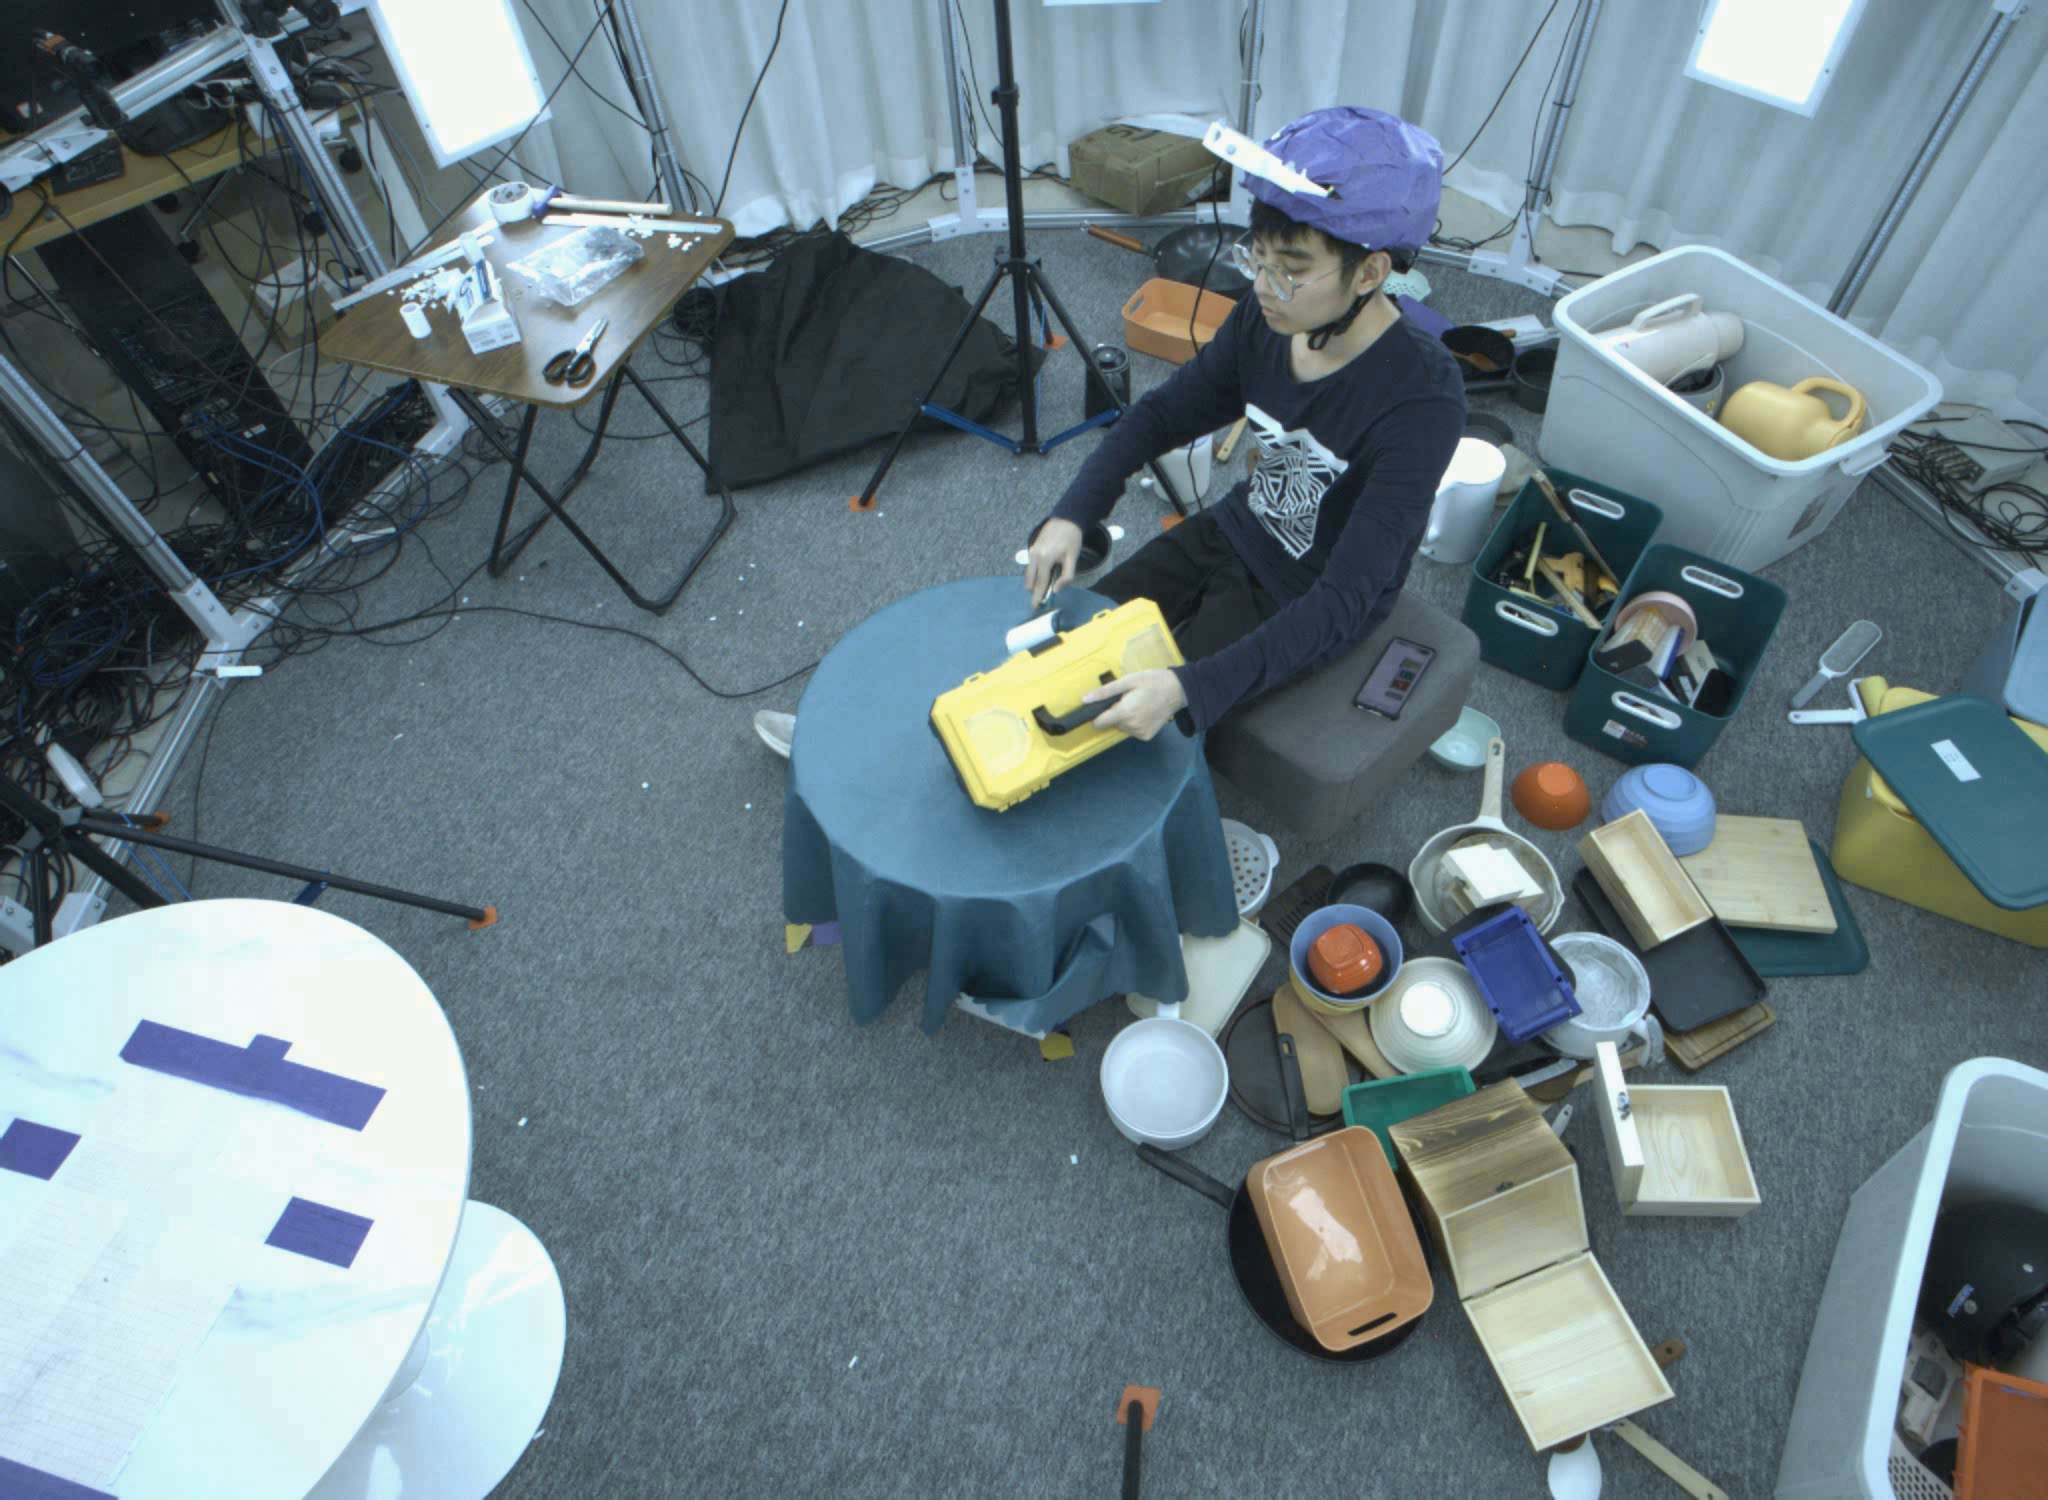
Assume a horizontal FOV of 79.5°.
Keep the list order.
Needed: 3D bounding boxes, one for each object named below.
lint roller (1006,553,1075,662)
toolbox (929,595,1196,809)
[{"bbox_3d":[0.031,-0.228,1.841,0.049,0.132,0.179,23,62,-33],"label":"lint roller"},{"bbox_3d":[0.046,-0.066,1.709,0.354,0.170,0.182,-28,96,-17],"label":"toolbox"}]
